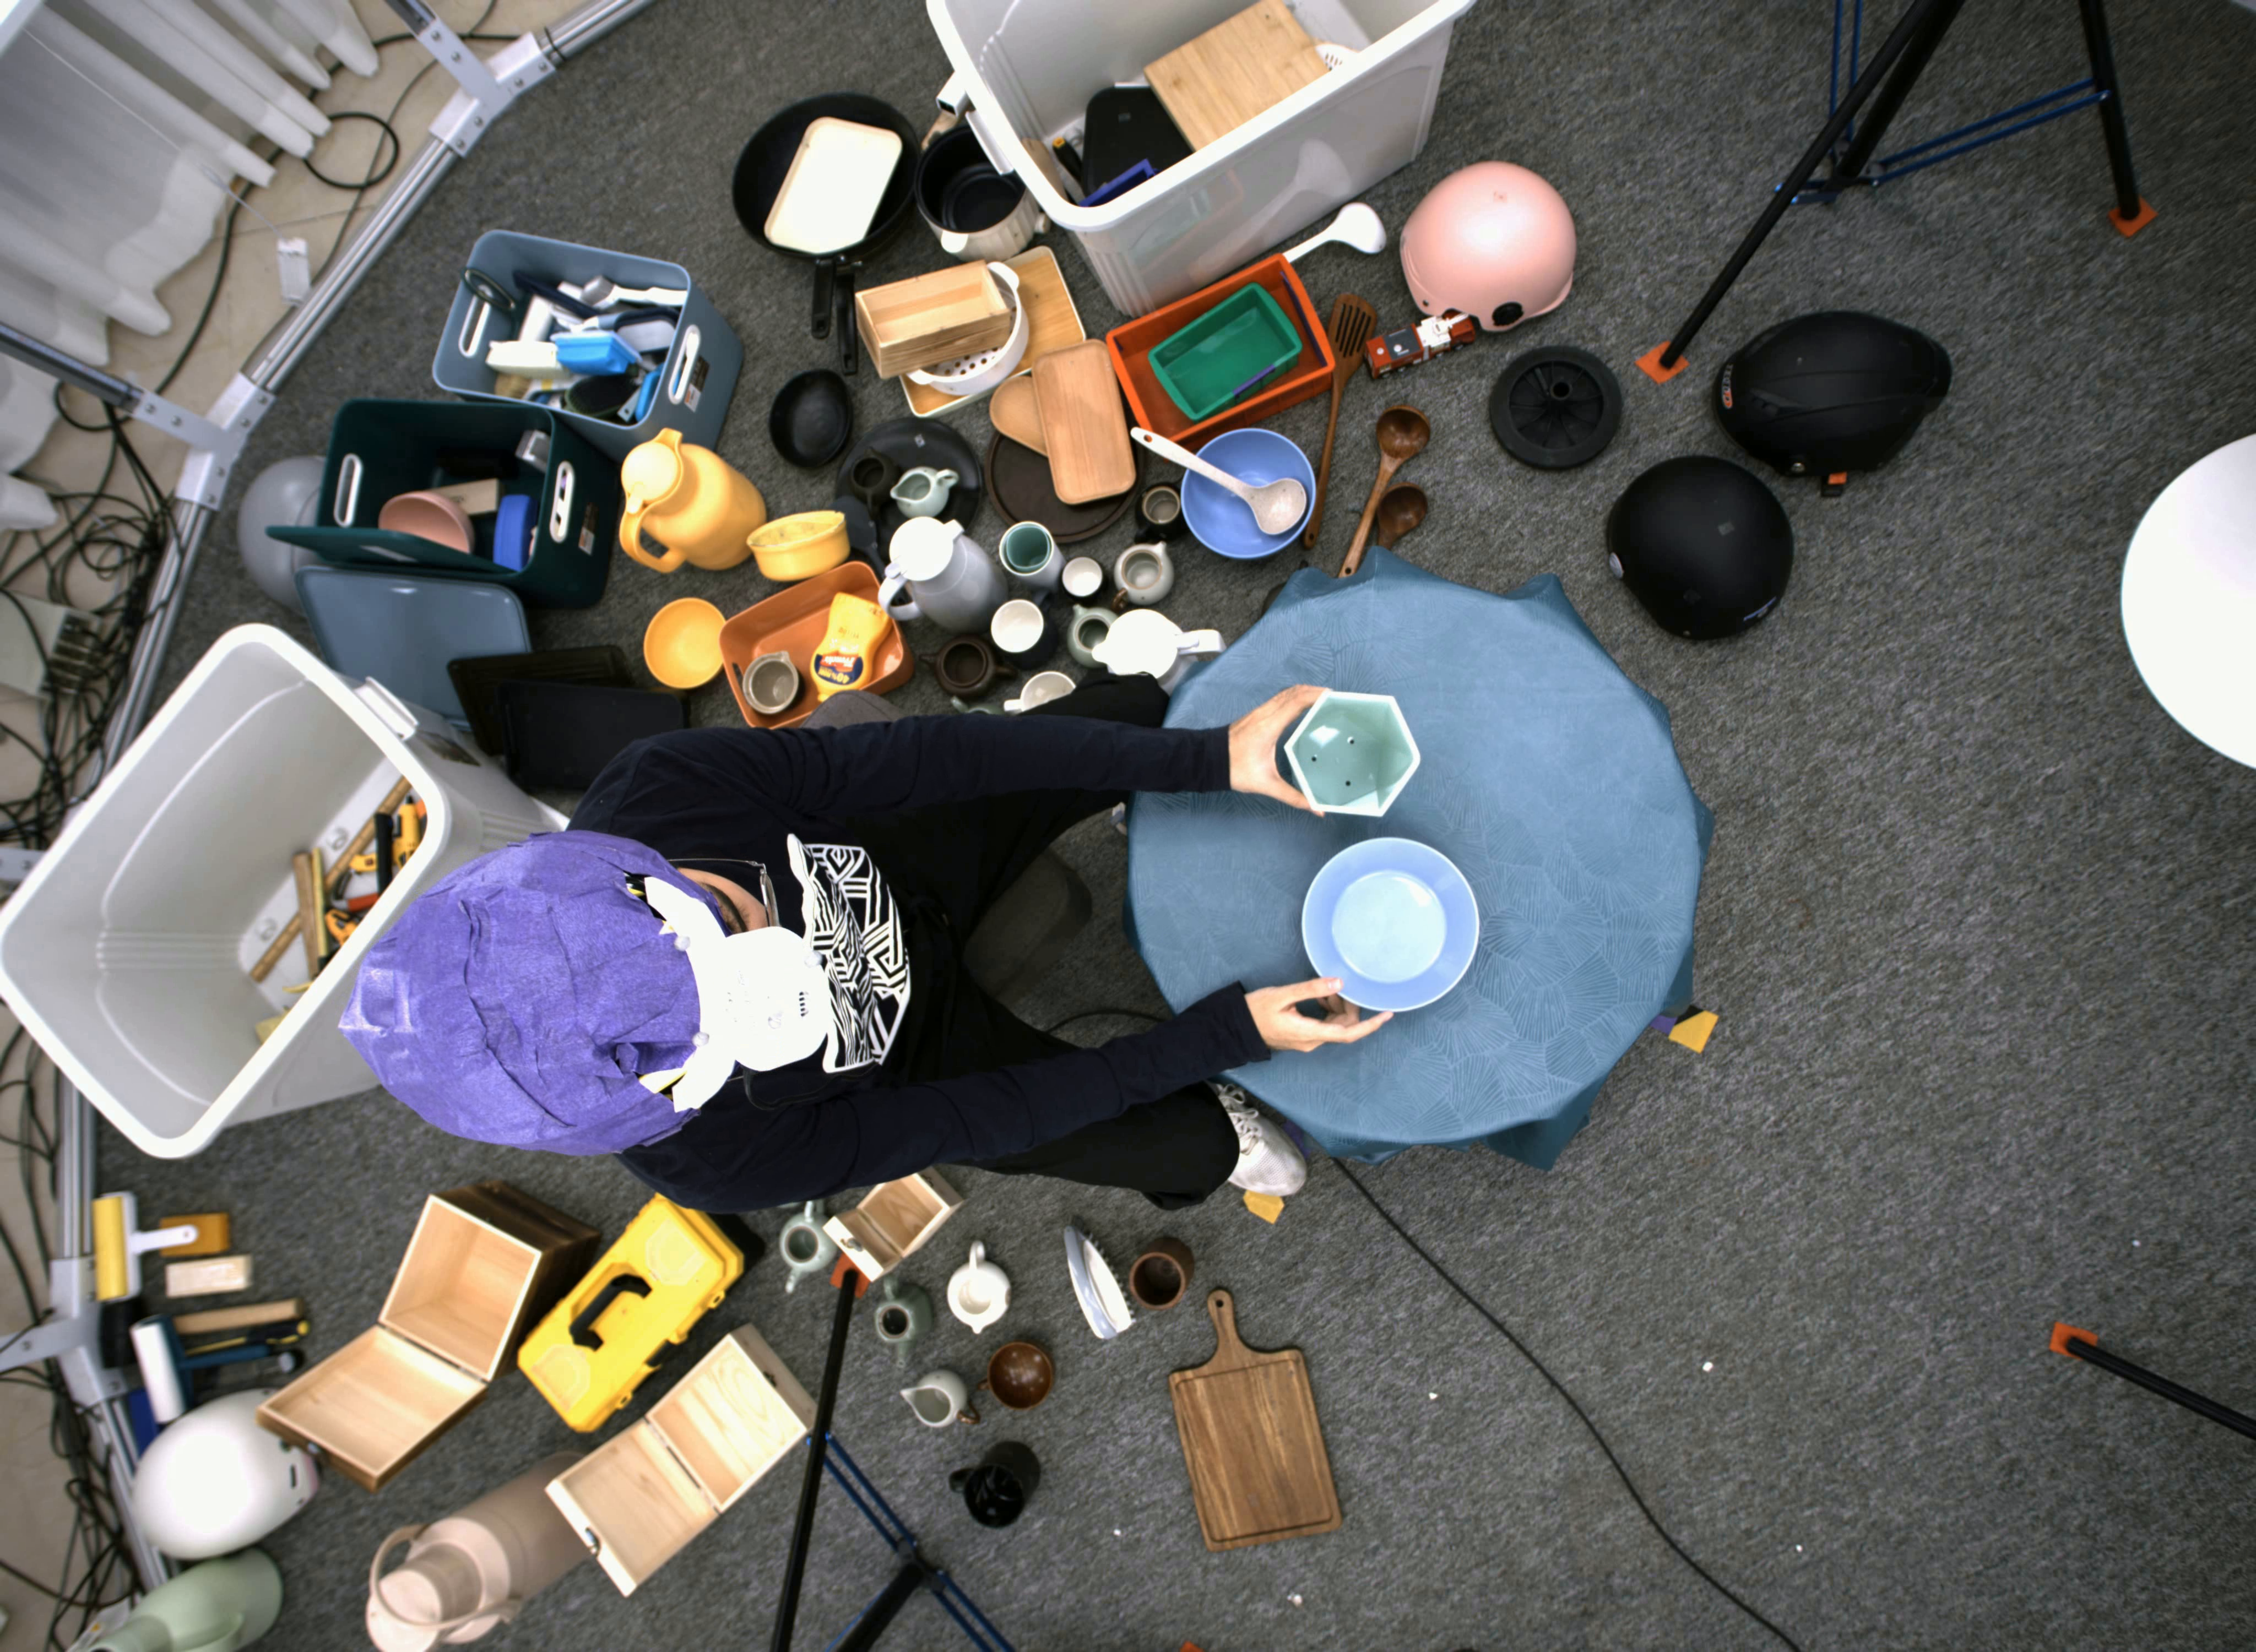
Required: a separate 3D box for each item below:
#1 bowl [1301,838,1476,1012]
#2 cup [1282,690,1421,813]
[{"bbox_3d":[0.267,0.101,1.422,0.177,0.070,0.175,-1,86,11],"label":"bowl"},{"bbox_3d":[0.220,-0.070,1.385,0.116,0.162,0.131,-28,87,5],"label":"cup"}]
